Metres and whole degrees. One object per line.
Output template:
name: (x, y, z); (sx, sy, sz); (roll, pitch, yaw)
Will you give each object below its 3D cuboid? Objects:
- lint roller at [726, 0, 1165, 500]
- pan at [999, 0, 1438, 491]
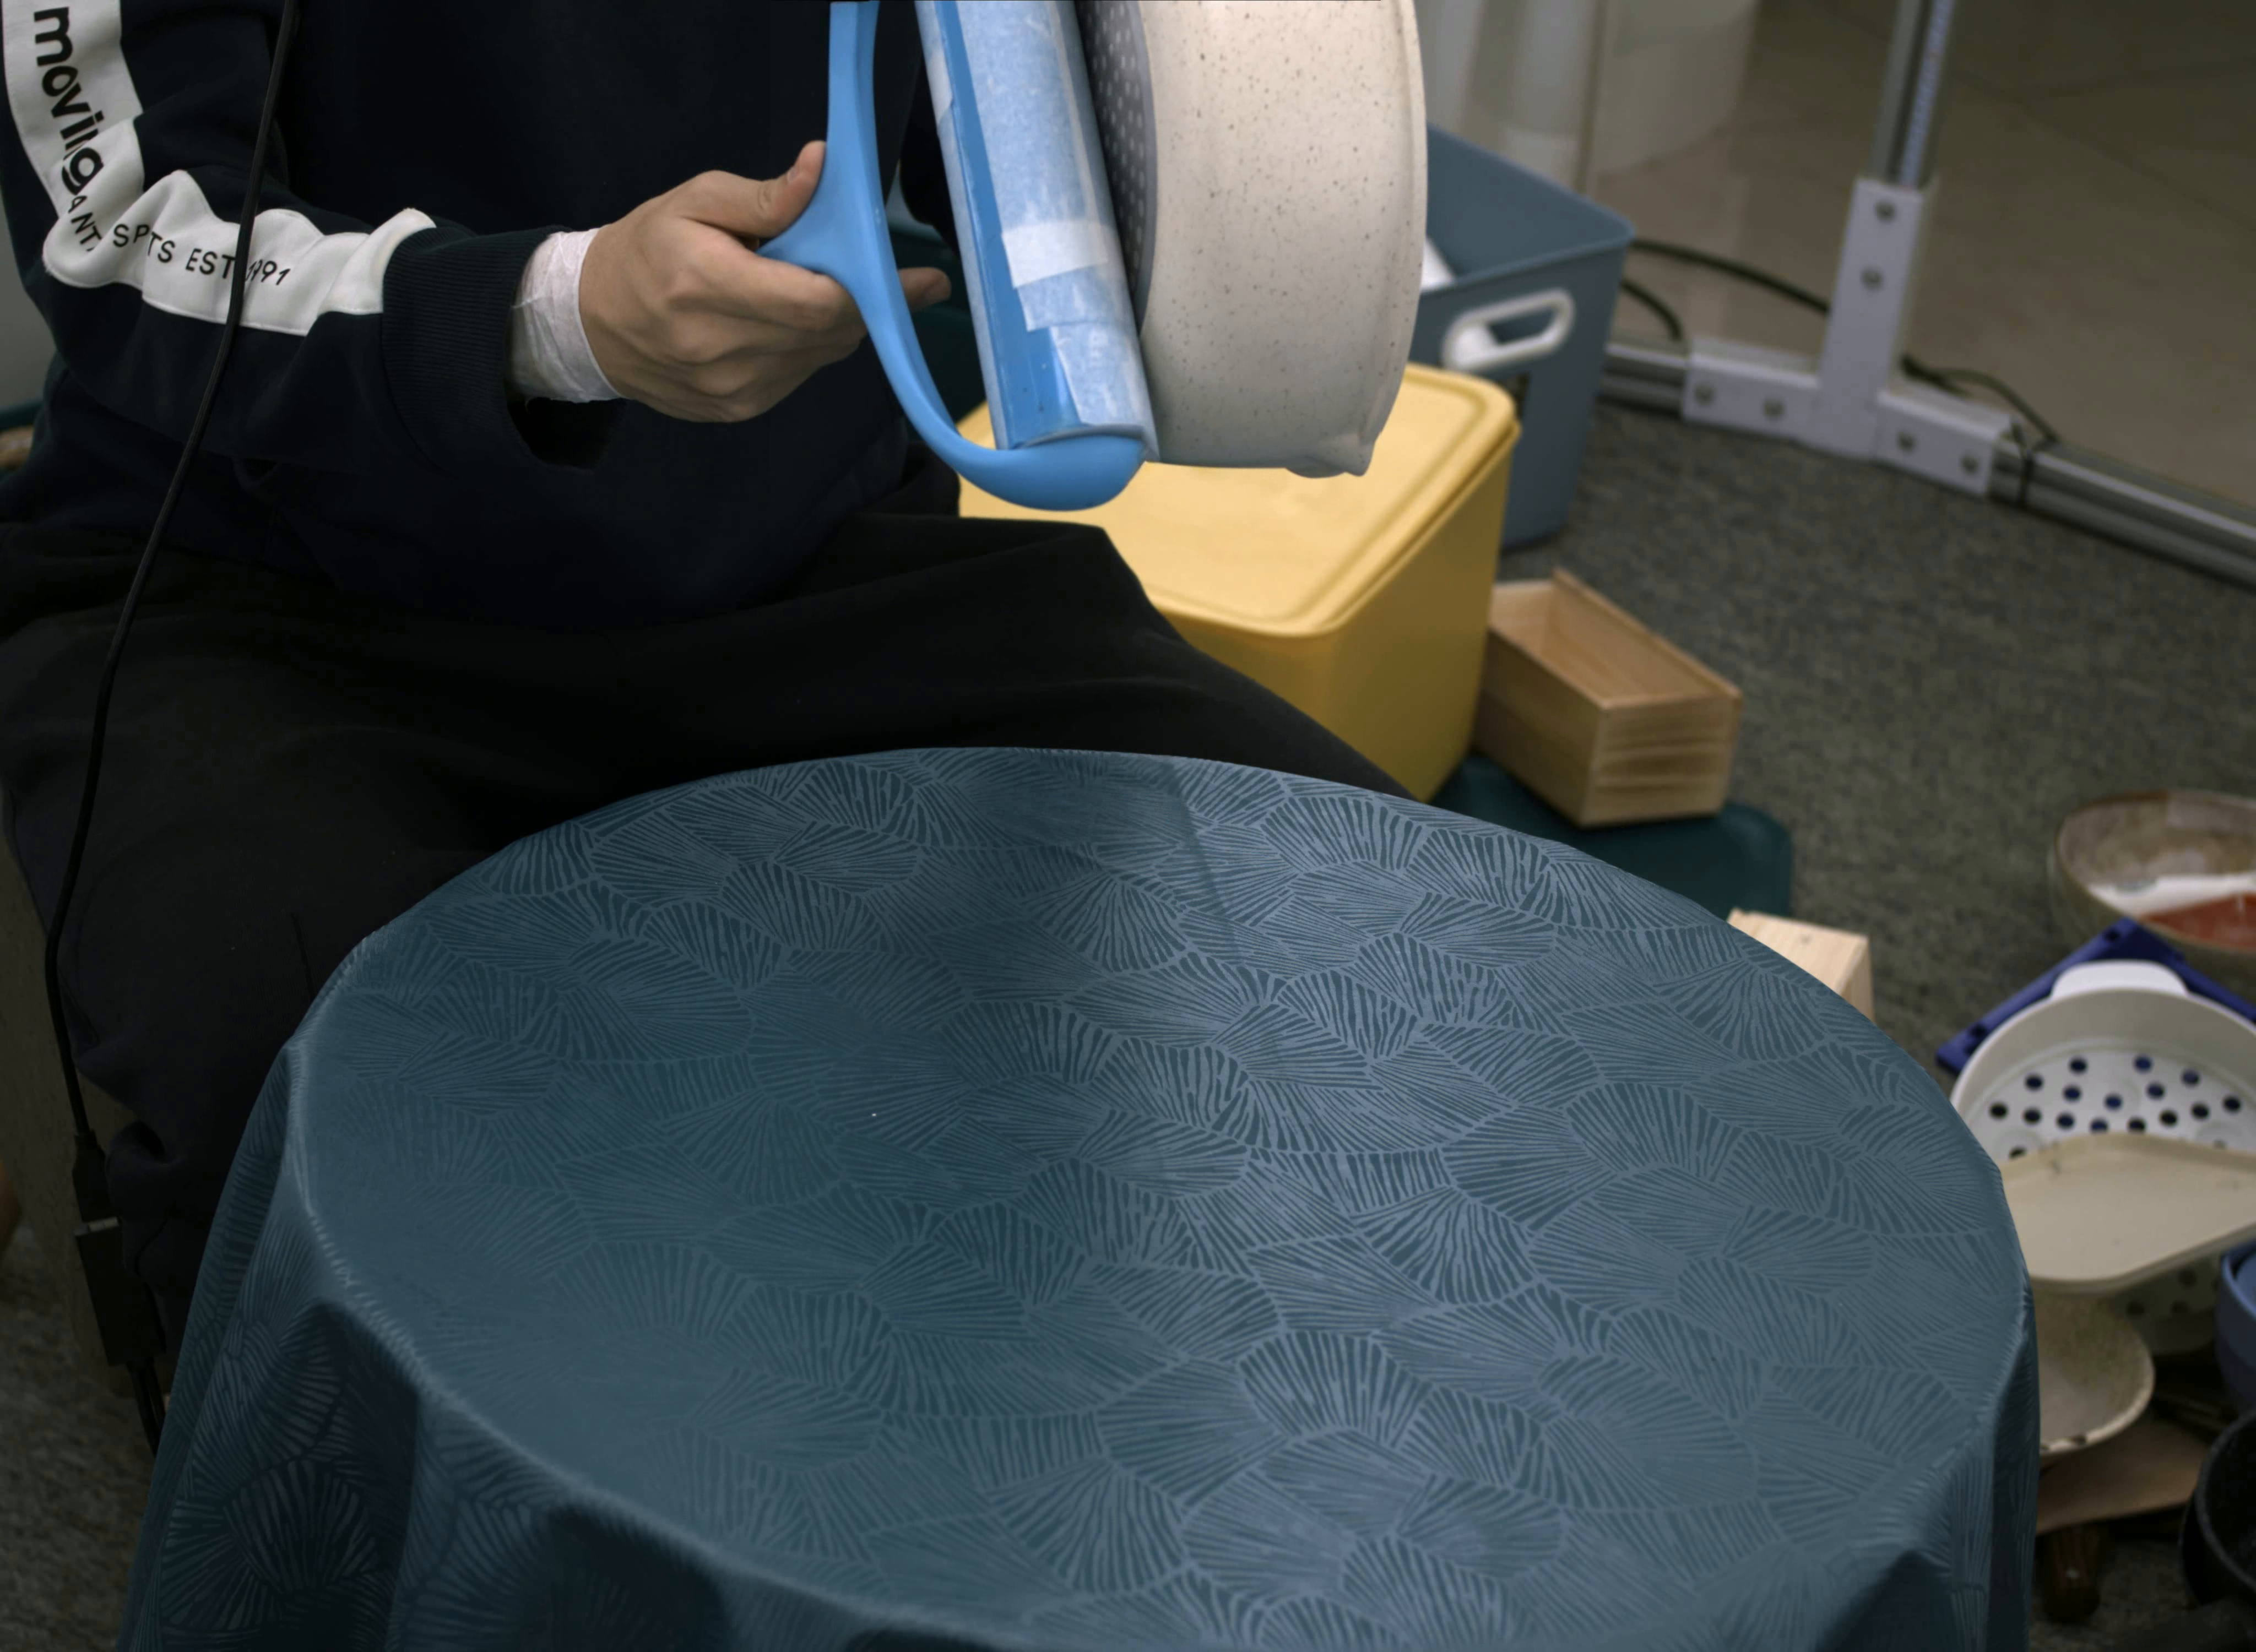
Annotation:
lint roller: (-0.081, -0.198, 1.816); (0.180, 0.230, 0.067); (-23, -18, 29)
pan: (0.005, -0.216, 1.923); (0.101, 0.265, 0.435); (-8, -12, -17)
